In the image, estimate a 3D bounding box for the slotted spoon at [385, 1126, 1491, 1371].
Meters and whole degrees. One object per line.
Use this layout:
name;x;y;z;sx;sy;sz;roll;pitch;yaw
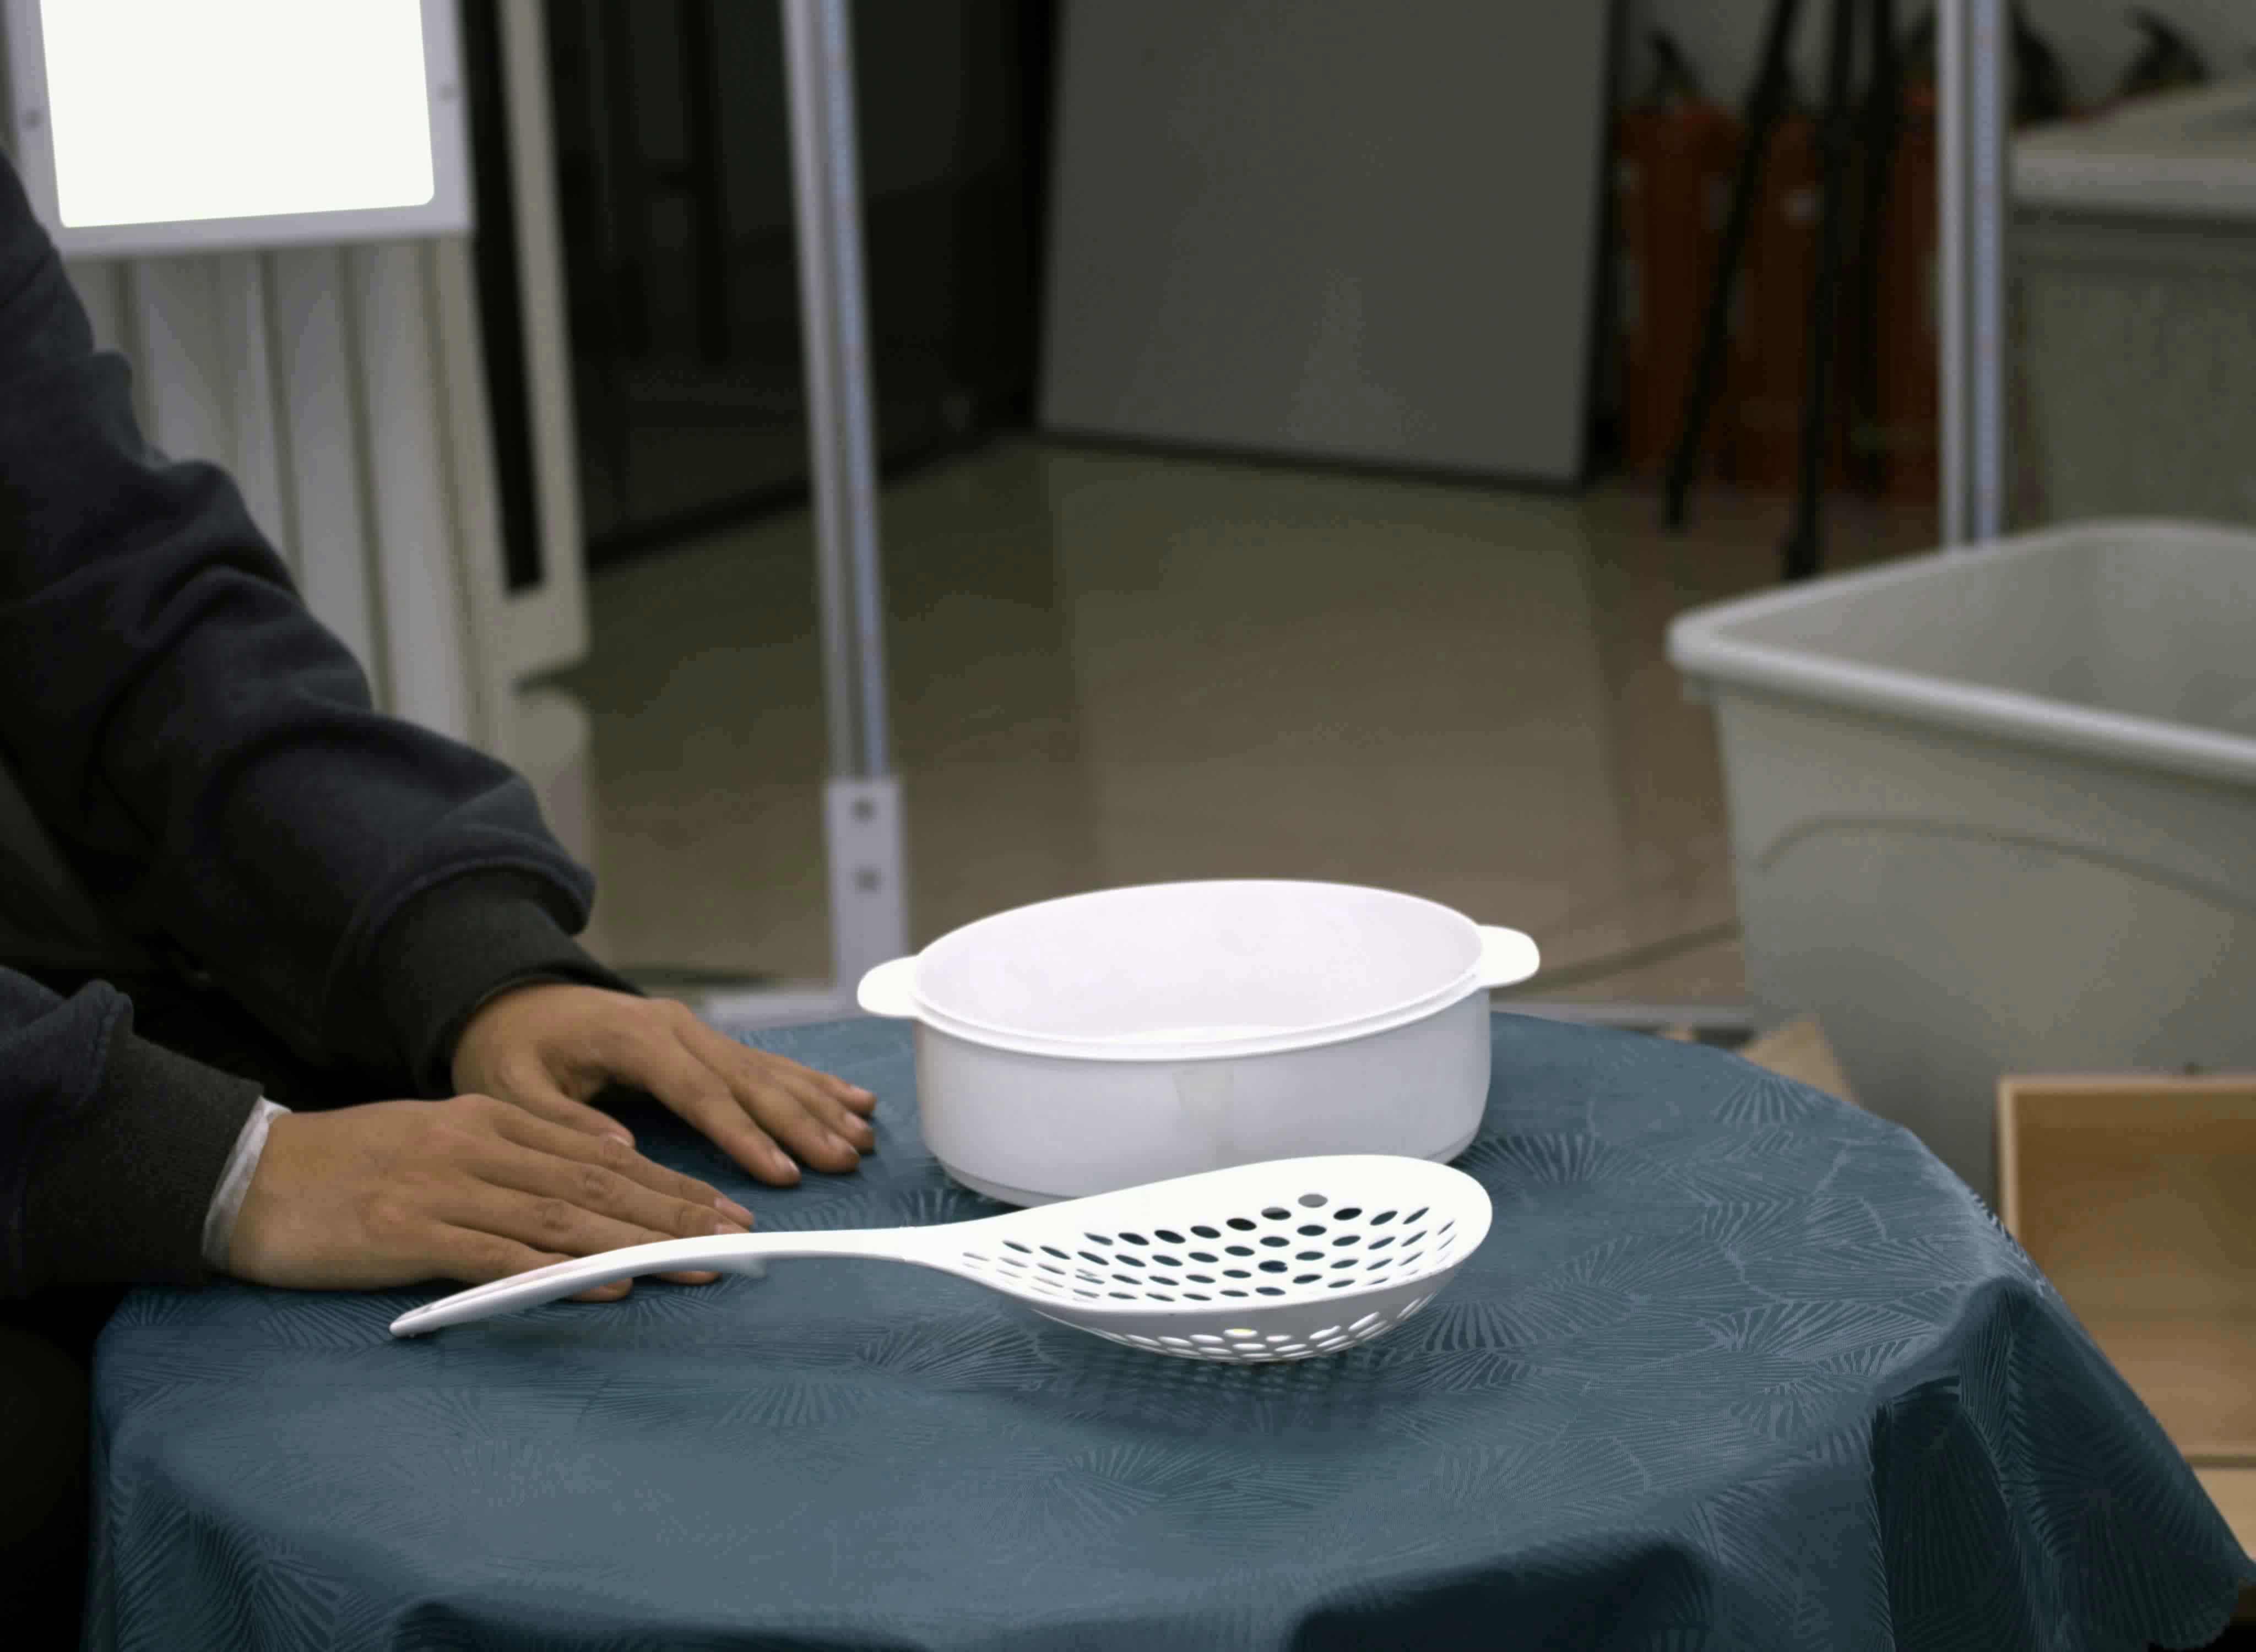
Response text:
slotted spoon;-0.060;0.138;1.634;0.346;0.051;0.136;-1;17;13

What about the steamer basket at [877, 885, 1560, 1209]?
steamer basket;0.031;0.076;1.802;0.228;0.070;0.202;-1;13;2
